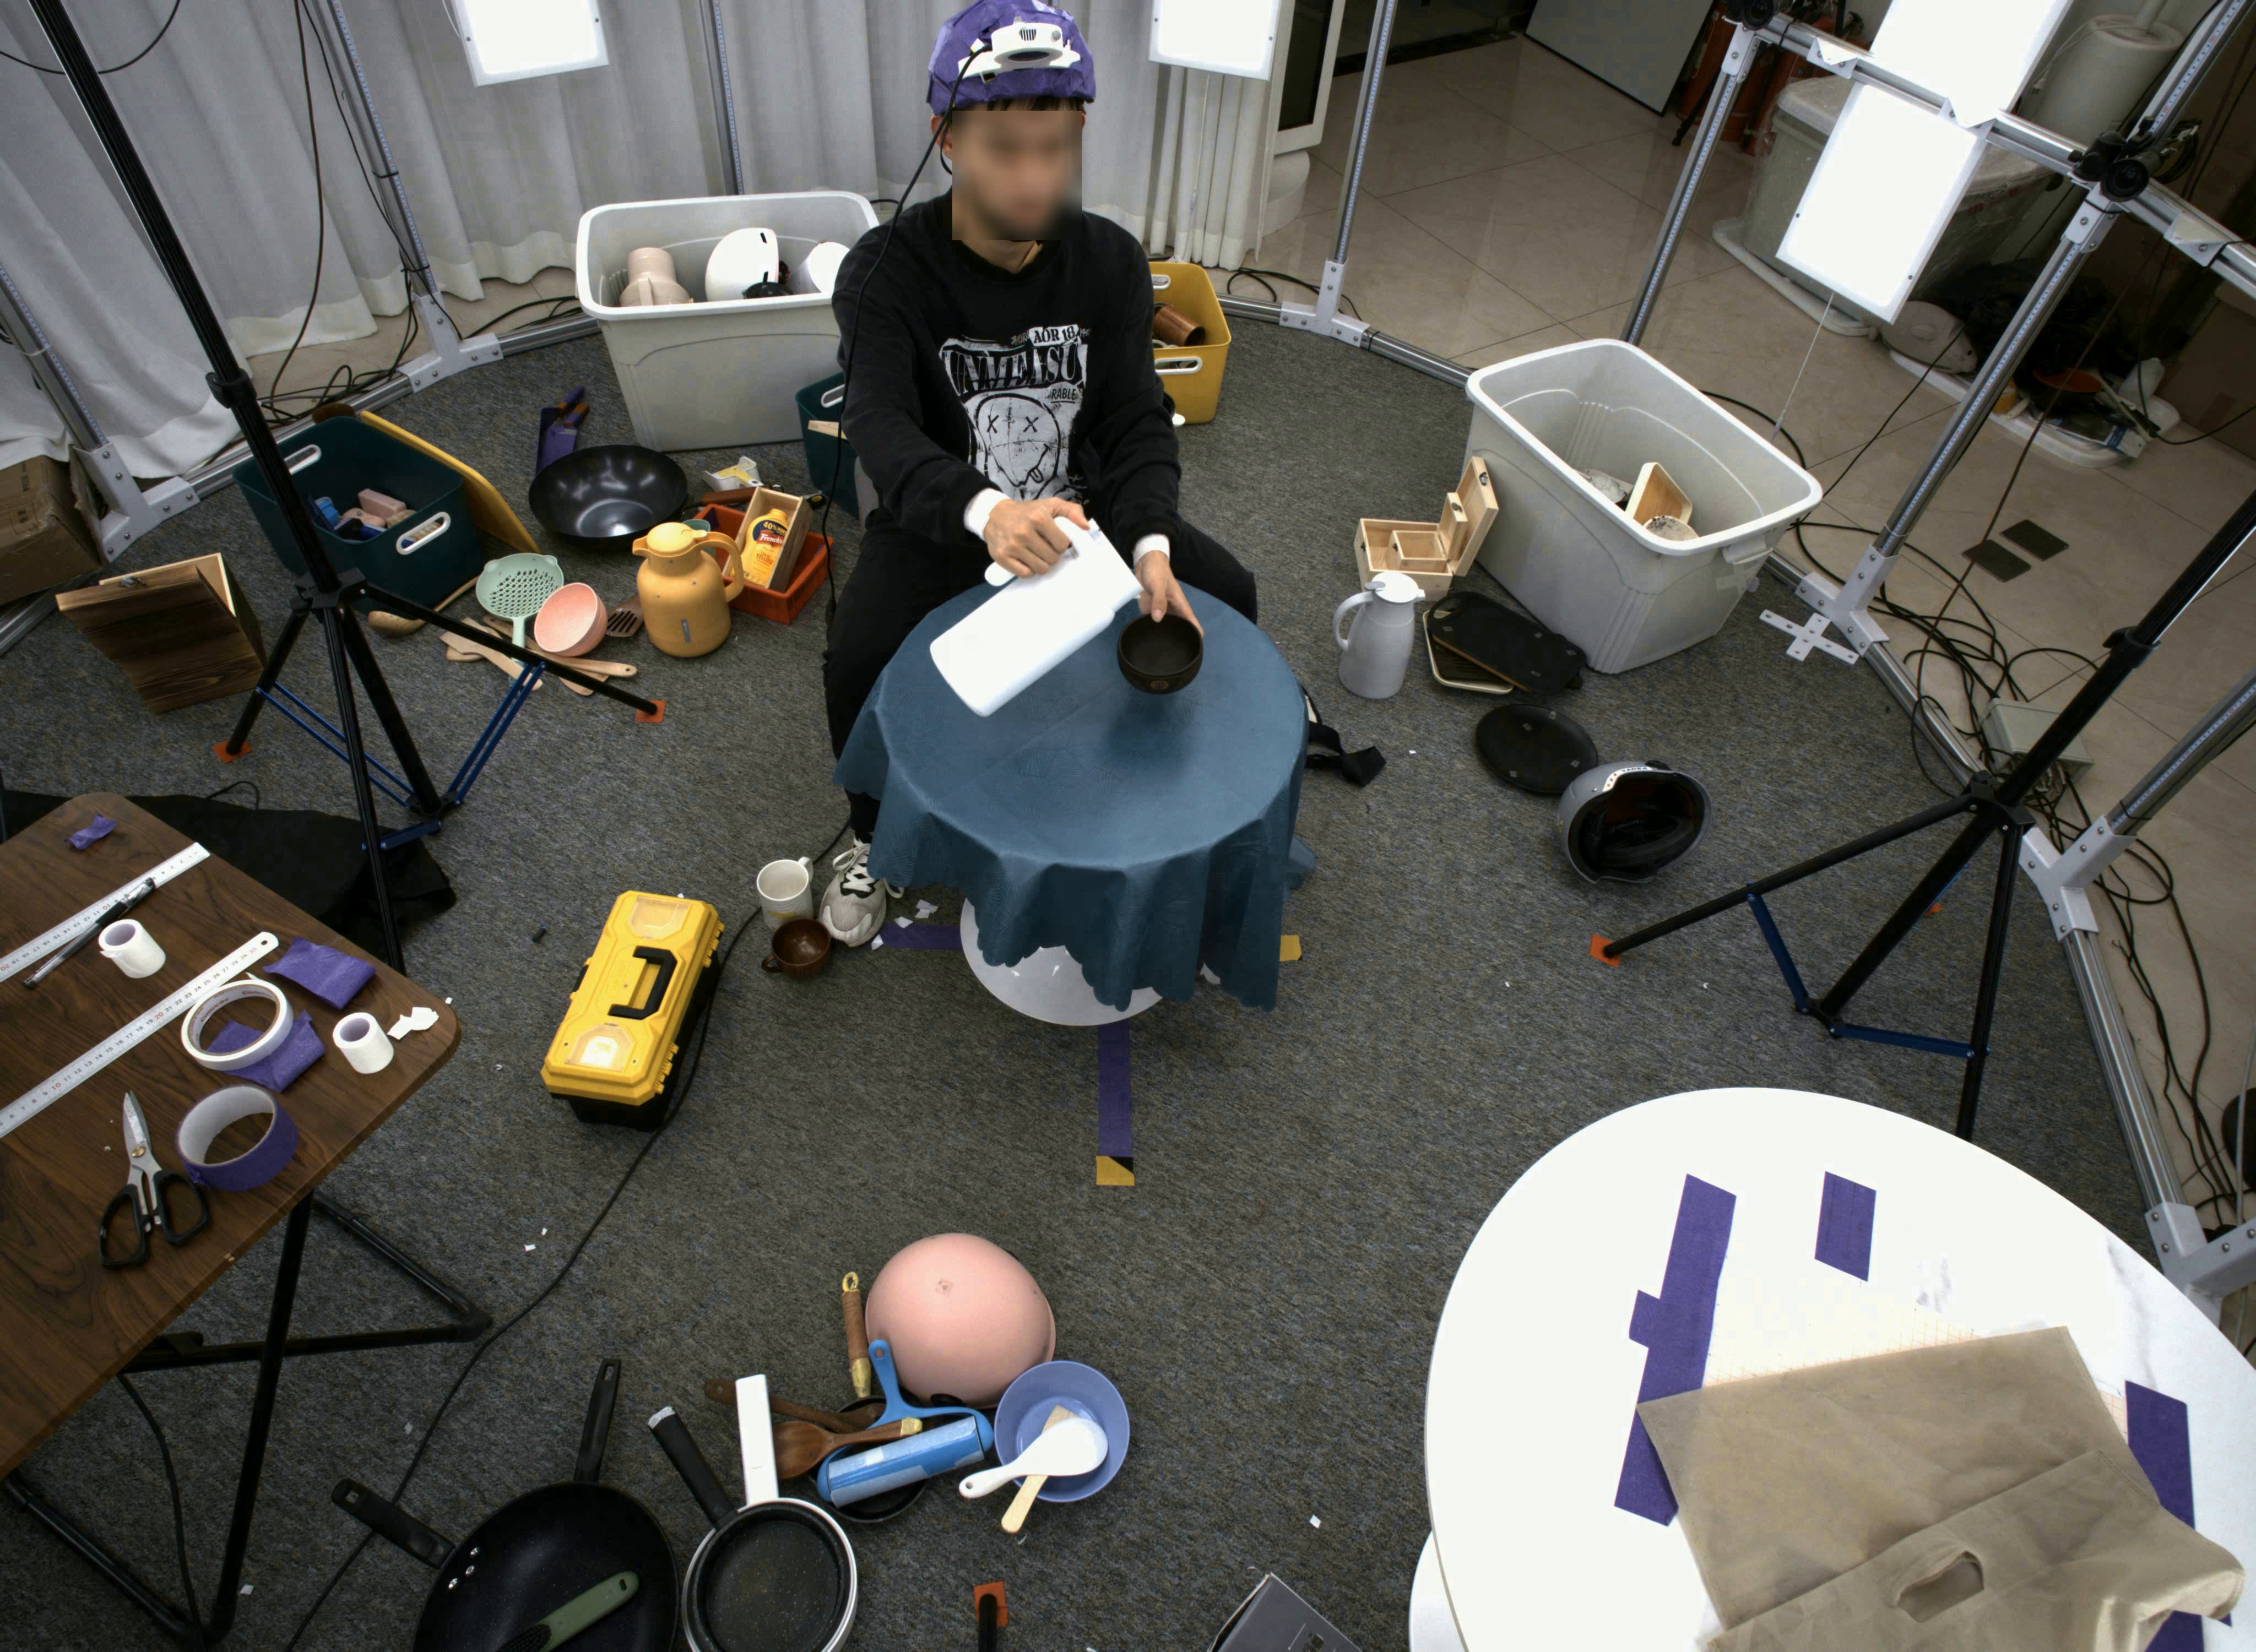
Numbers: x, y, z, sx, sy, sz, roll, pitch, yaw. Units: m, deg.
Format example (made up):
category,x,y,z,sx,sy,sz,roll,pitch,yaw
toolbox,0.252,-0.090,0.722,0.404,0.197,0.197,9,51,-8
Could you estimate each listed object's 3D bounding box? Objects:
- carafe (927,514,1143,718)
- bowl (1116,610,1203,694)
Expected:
category,x,y,z,sx,sy,sz,roll,pitch,yaw
carafe,-0.123,-0.265,1.611,0.268,0.169,0.127,-35,49,7
bowl,0.043,-0.230,1.753,0.118,0.068,0.121,-1,55,1
